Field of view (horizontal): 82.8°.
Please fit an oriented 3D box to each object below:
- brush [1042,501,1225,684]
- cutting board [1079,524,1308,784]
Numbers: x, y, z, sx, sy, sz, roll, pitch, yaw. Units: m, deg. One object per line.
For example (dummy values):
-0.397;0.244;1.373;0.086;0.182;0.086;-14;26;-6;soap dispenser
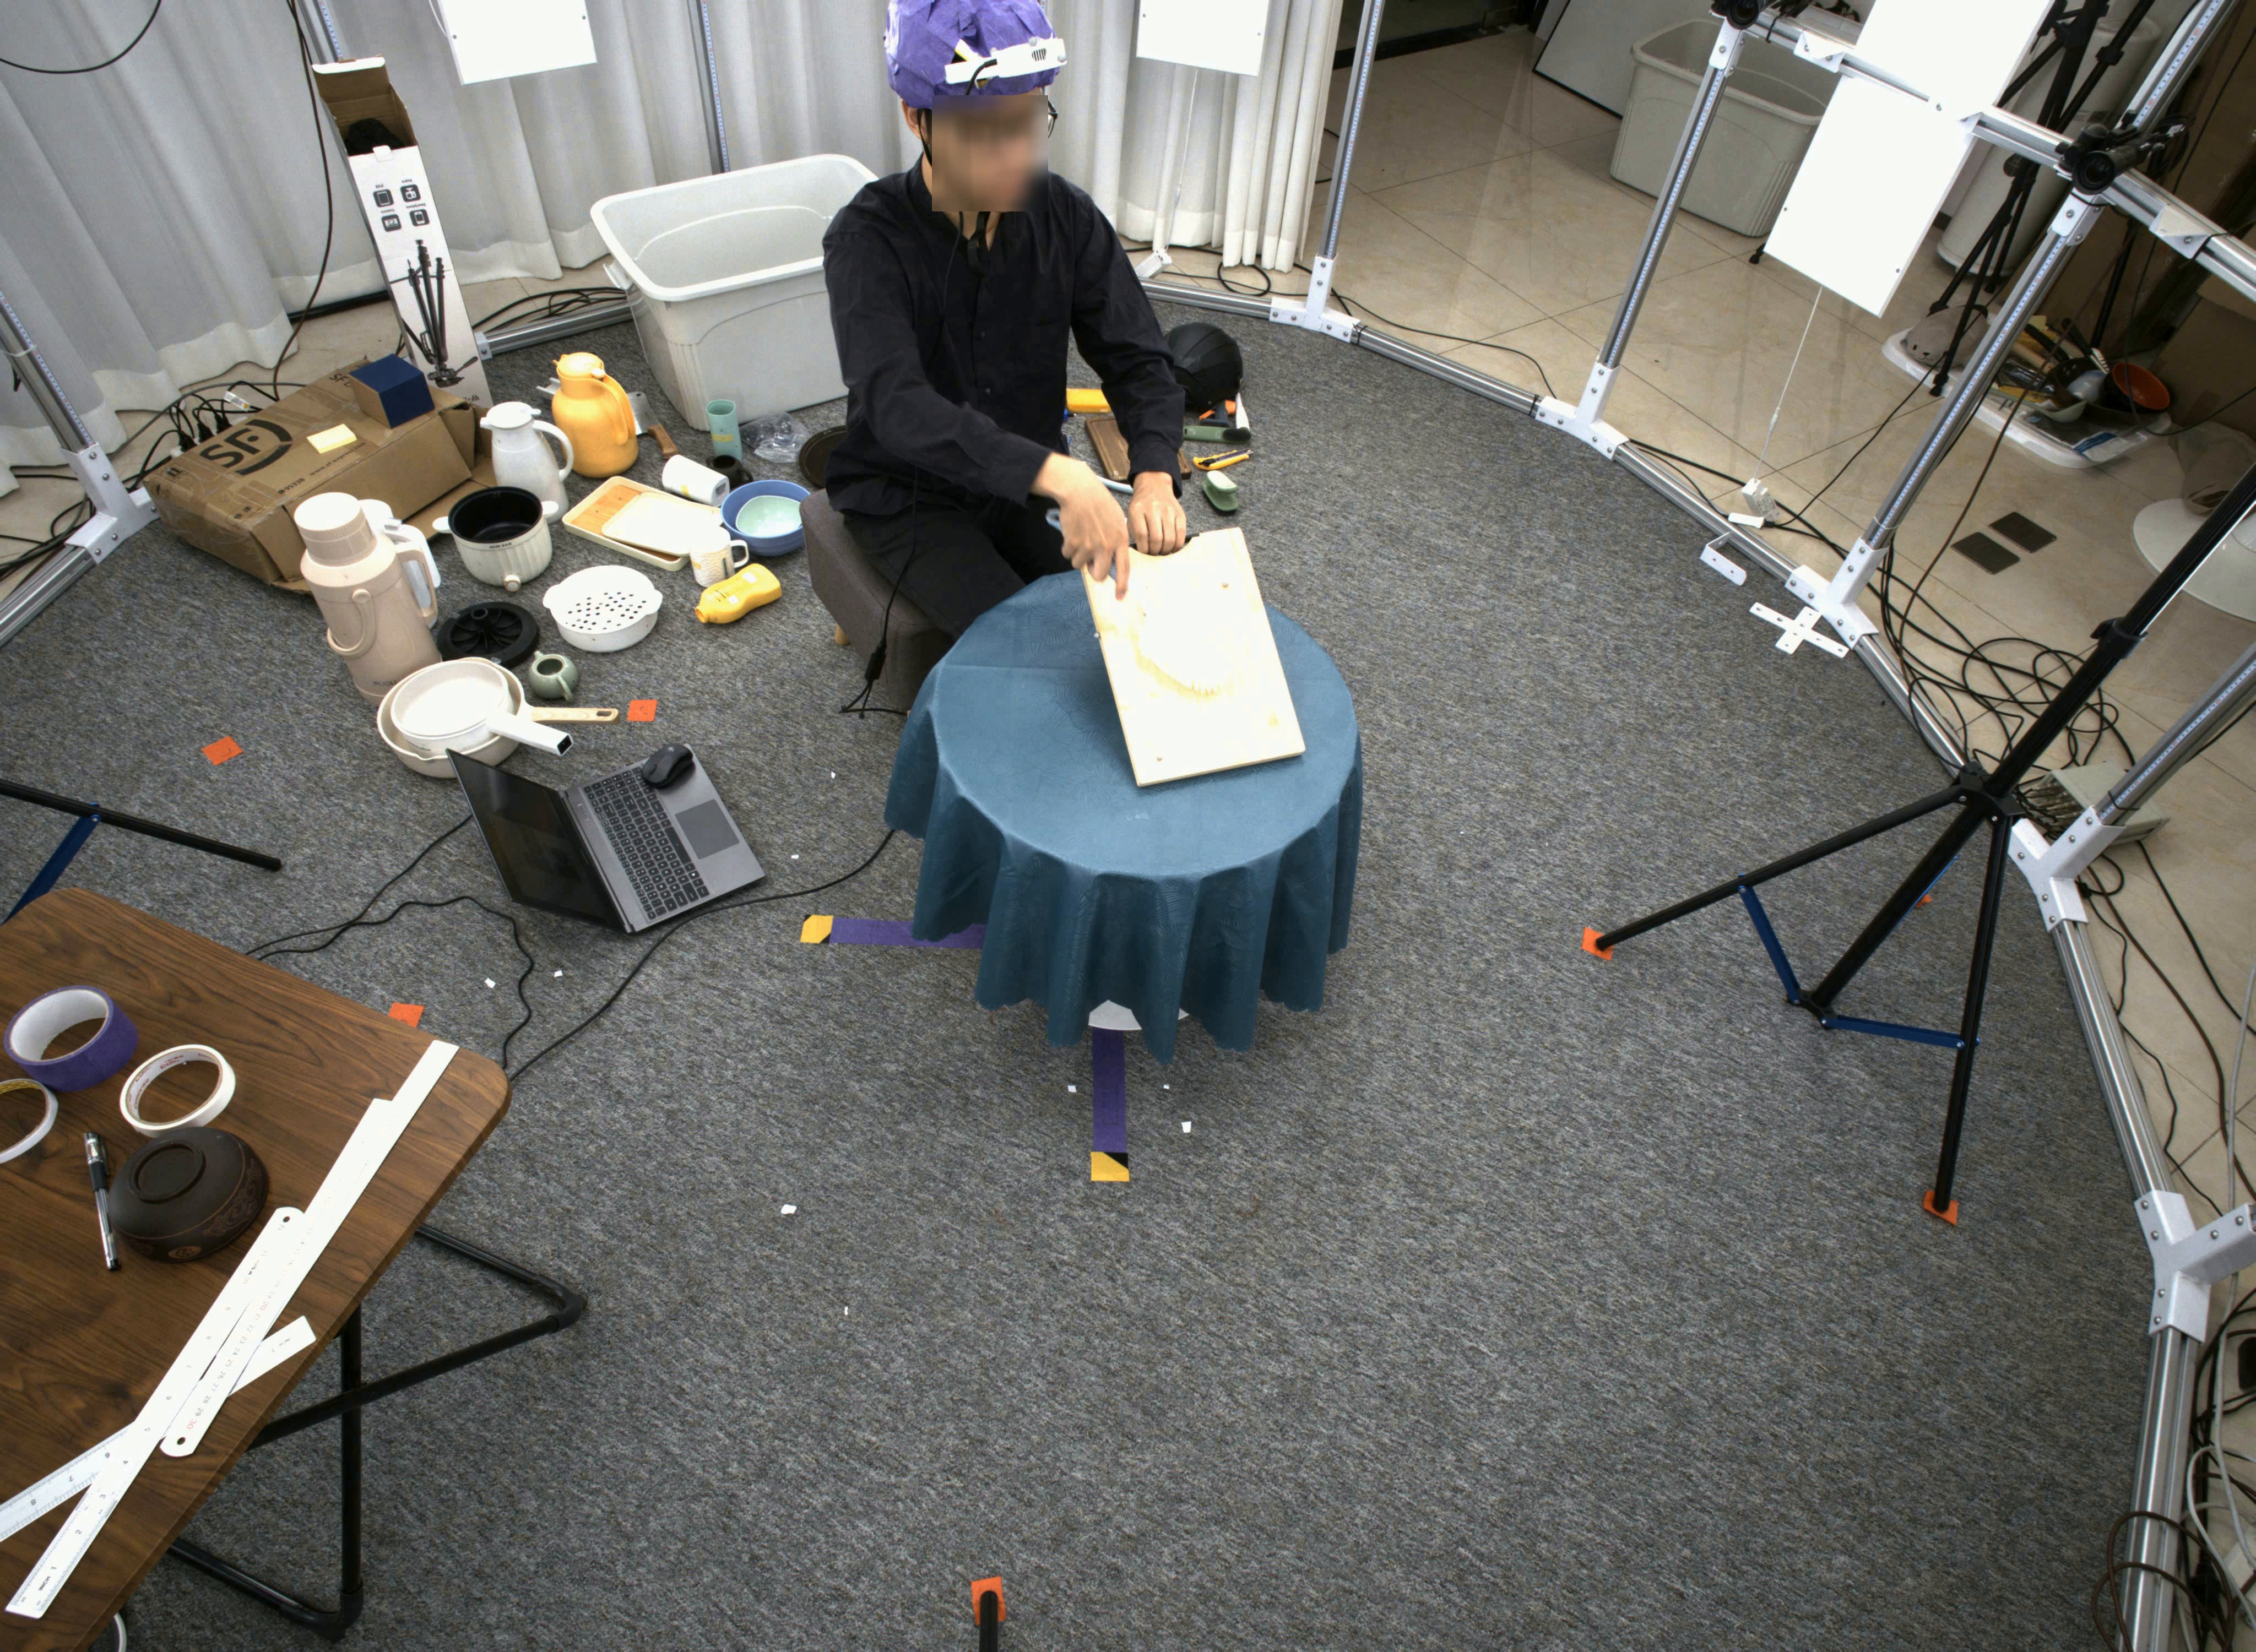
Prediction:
0.003;-0.311;1.733;0.324;0.083;0.084;42;32;-6;brush
0.089;-0.241;1.778;0.251;0.023;0.352;-13;77;-15;cutting board
